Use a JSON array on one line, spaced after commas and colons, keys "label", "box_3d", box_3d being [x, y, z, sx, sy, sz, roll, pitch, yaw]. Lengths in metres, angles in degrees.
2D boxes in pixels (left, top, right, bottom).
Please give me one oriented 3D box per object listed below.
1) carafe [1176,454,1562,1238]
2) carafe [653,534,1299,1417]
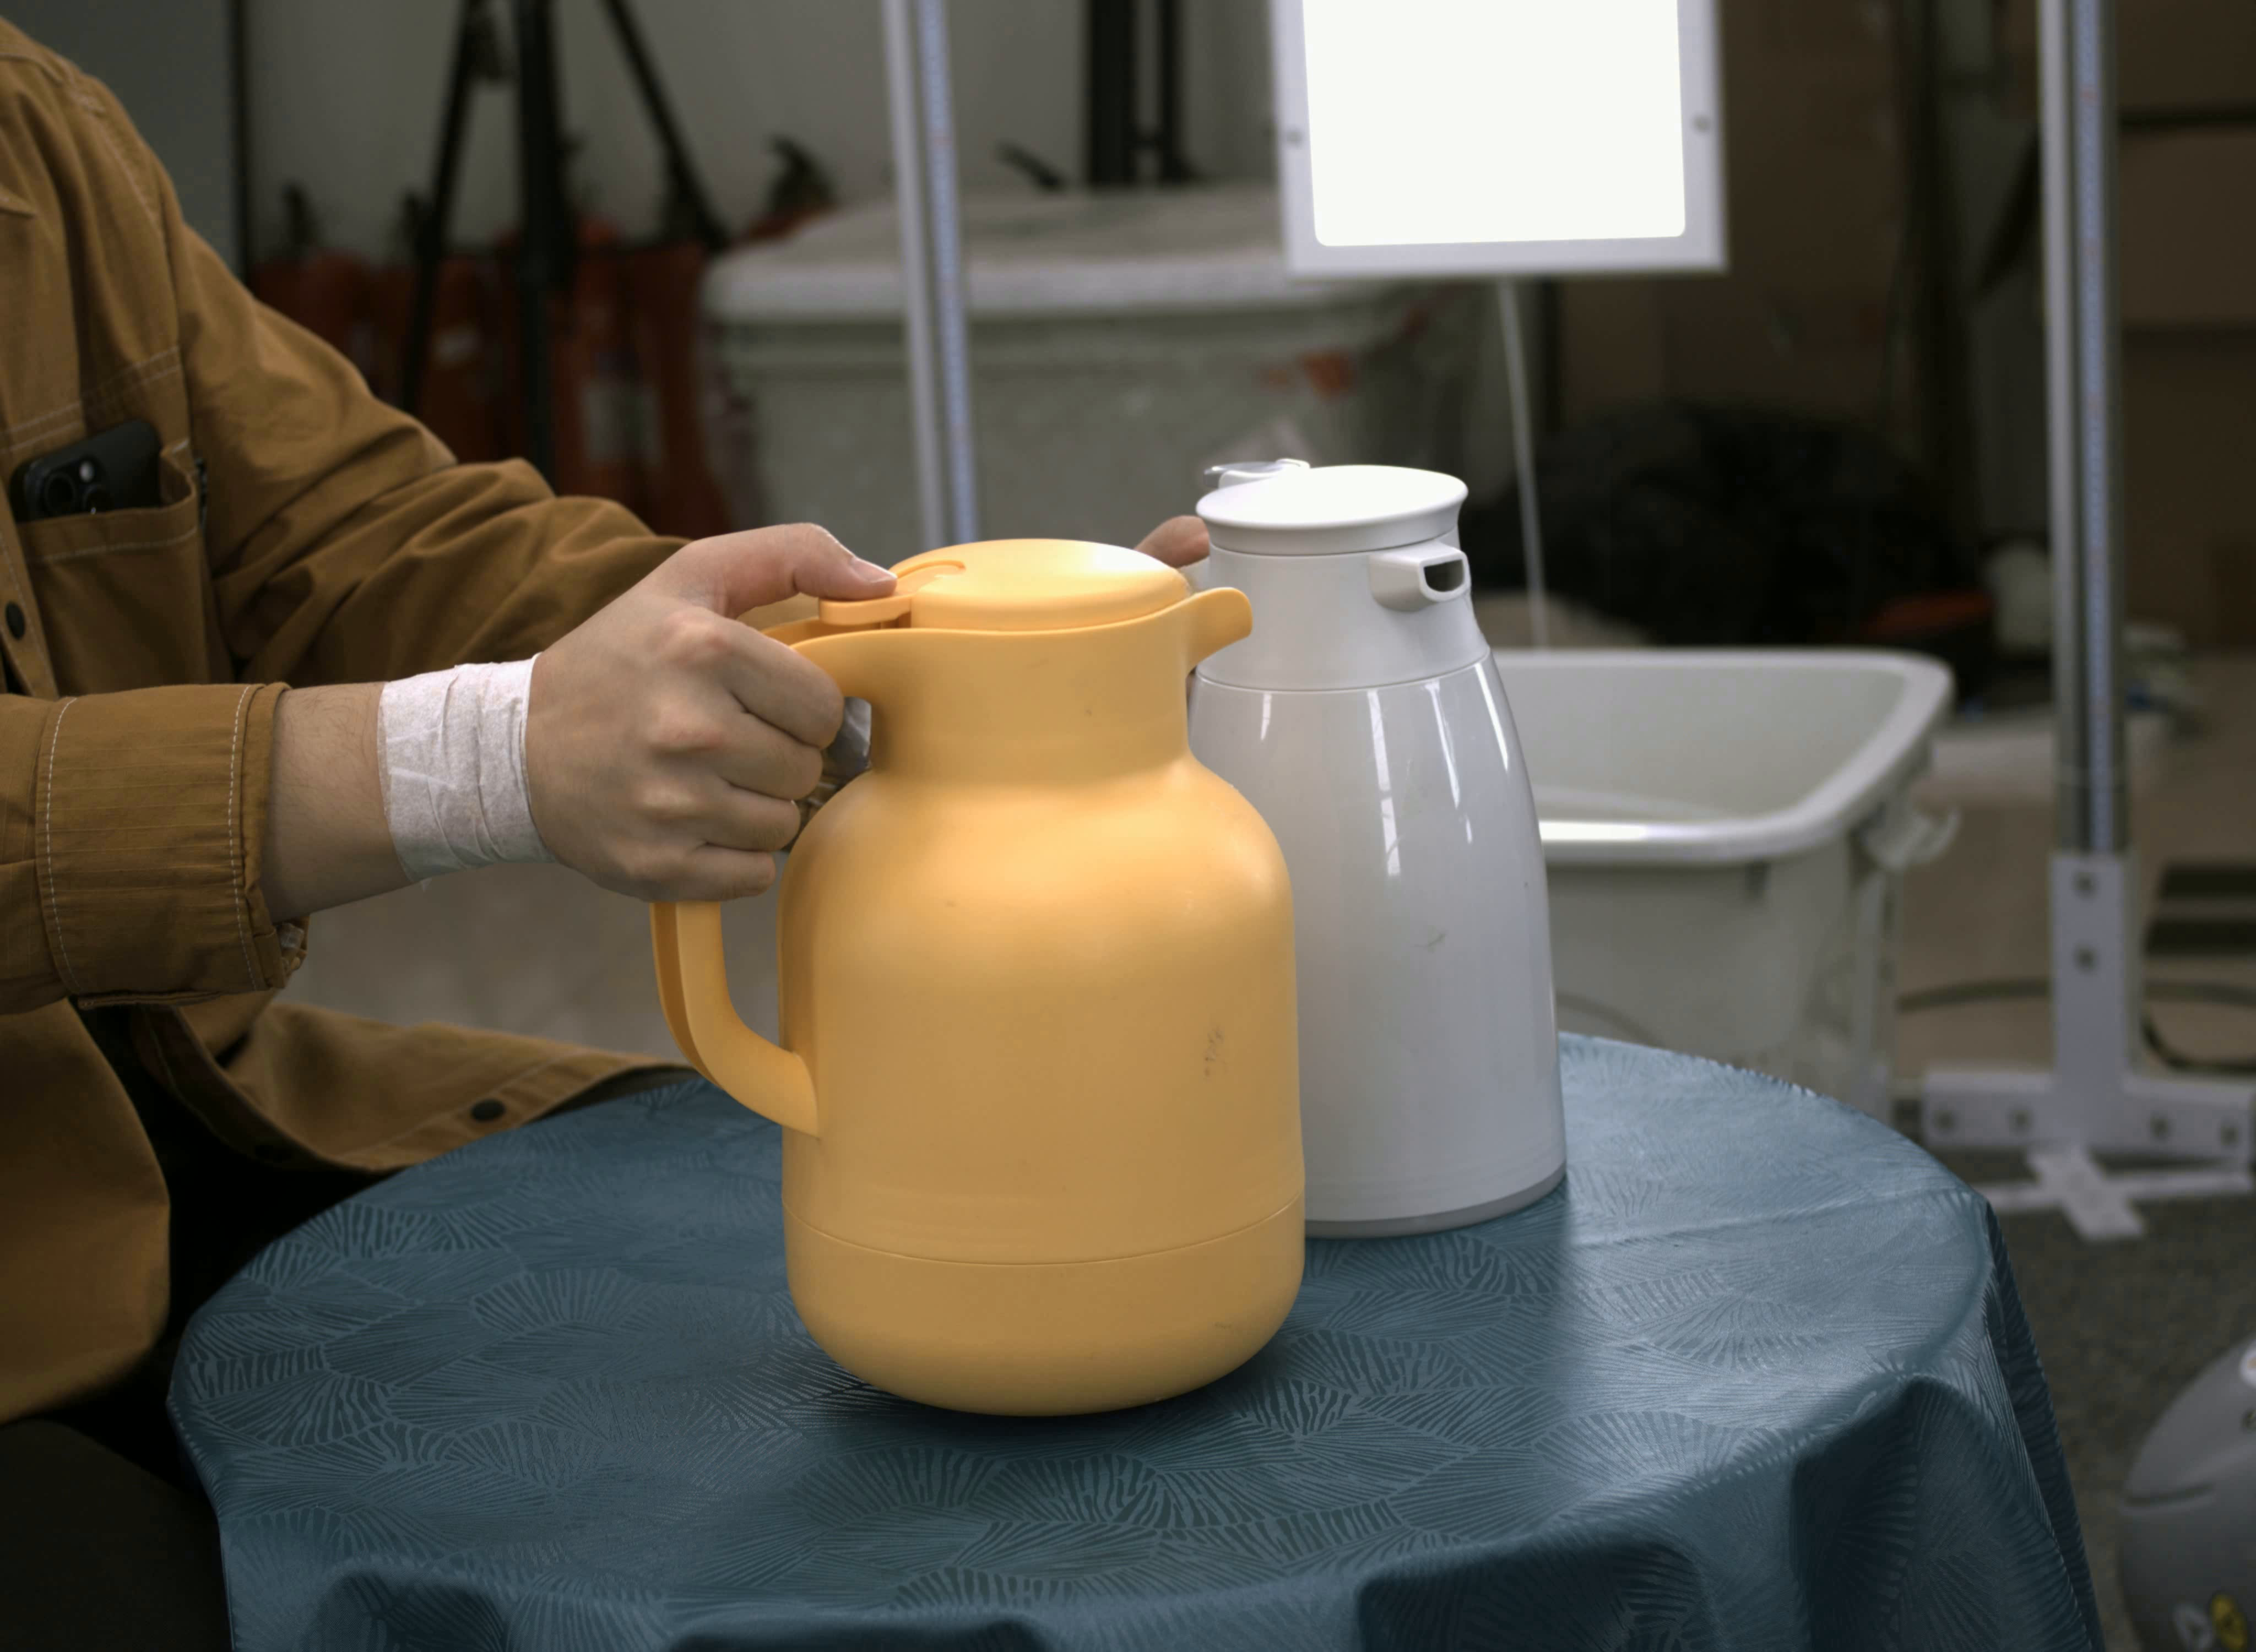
[{"label": "carafe", "box_3d": [0.064, -0.001, 1.874, 0.129, 0.249, 0.171, -13, 16, -31]}, {"label": "carafe", "box_3d": [-0.047, 0.044, 1.692, 0.199, 0.261, 0.166, -5, 13, -21]}]
